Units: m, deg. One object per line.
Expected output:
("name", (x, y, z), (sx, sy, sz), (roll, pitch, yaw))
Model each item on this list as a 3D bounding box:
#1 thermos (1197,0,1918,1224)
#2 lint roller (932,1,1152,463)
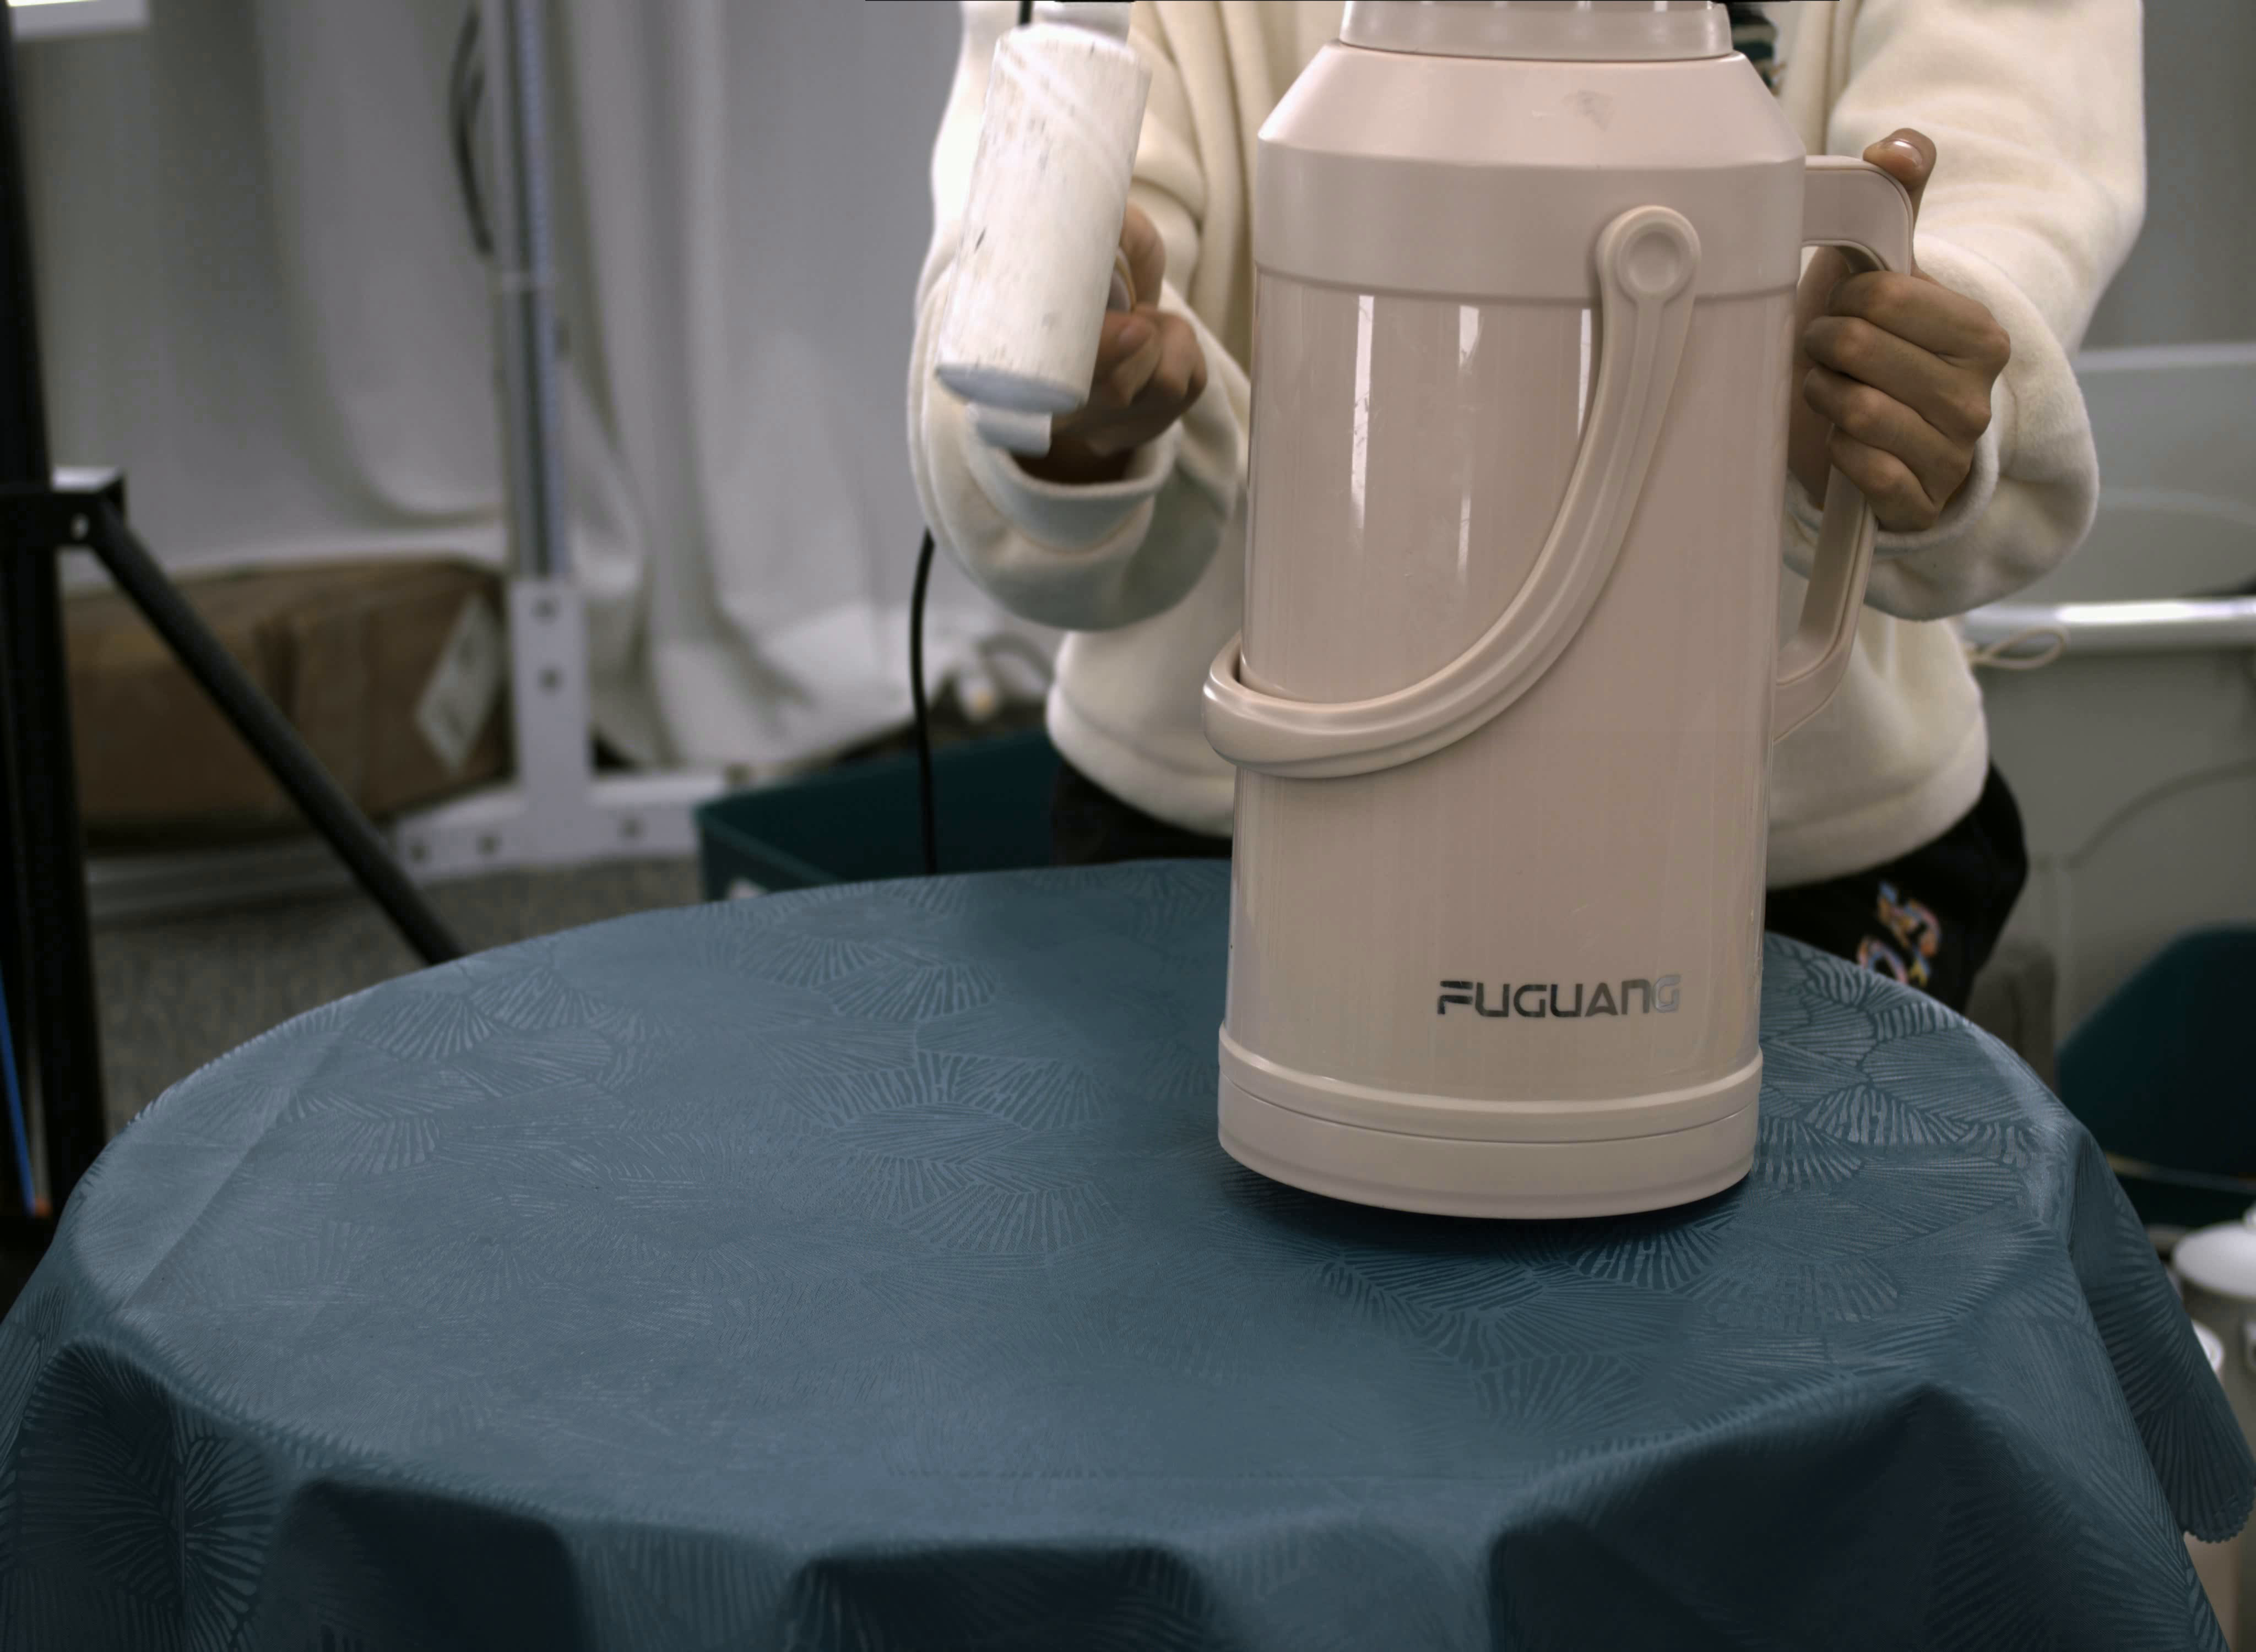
("thermos", (0.125, -0.099, 1.525), (0.203, 0.407, 0.178), (-1, 11, -18))
("lint roller", (-0.025, -0.168, 1.606), (0.050, 0.133, 0.180), (10, -3, -1))
